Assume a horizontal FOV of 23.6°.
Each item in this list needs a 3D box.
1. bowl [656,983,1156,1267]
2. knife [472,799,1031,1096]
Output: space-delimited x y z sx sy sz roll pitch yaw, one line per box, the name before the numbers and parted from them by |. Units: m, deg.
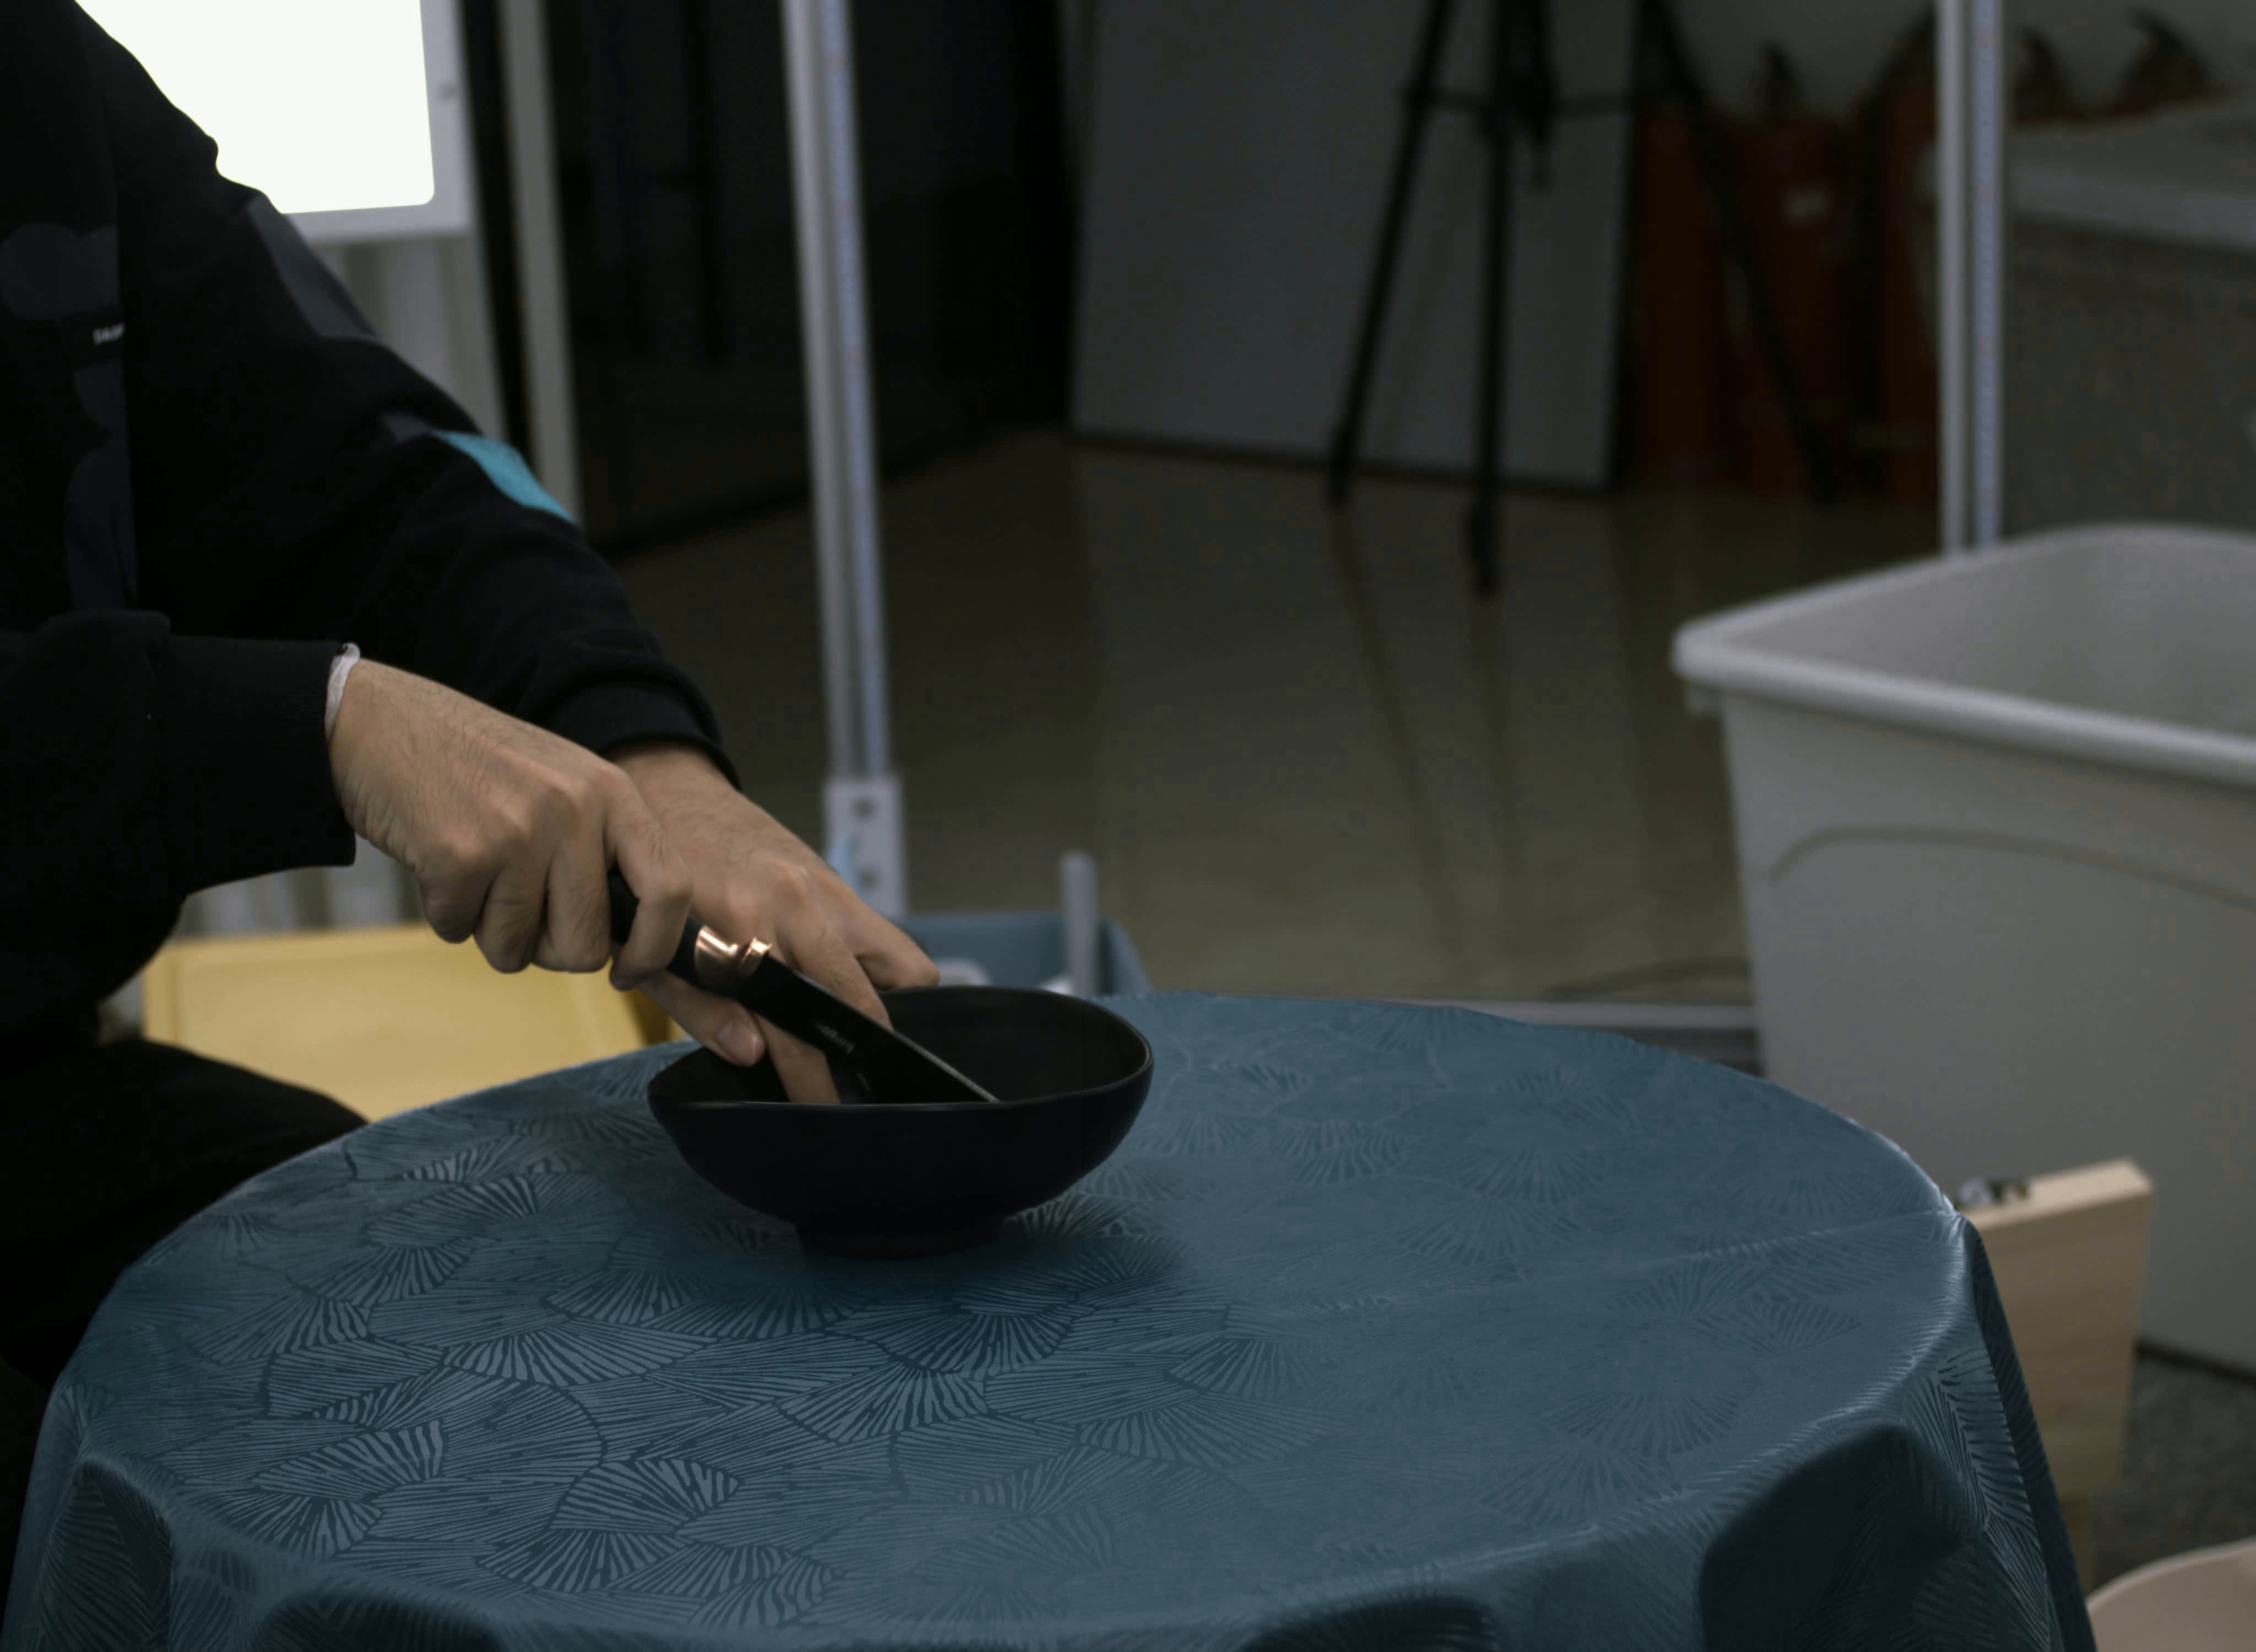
bowl | -0.071 0.101 1.738 0.170 0.067 0.136 -2 13 18
knife | -0.117 0.049 1.763 0.225 0.026 0.017 29 32 12
